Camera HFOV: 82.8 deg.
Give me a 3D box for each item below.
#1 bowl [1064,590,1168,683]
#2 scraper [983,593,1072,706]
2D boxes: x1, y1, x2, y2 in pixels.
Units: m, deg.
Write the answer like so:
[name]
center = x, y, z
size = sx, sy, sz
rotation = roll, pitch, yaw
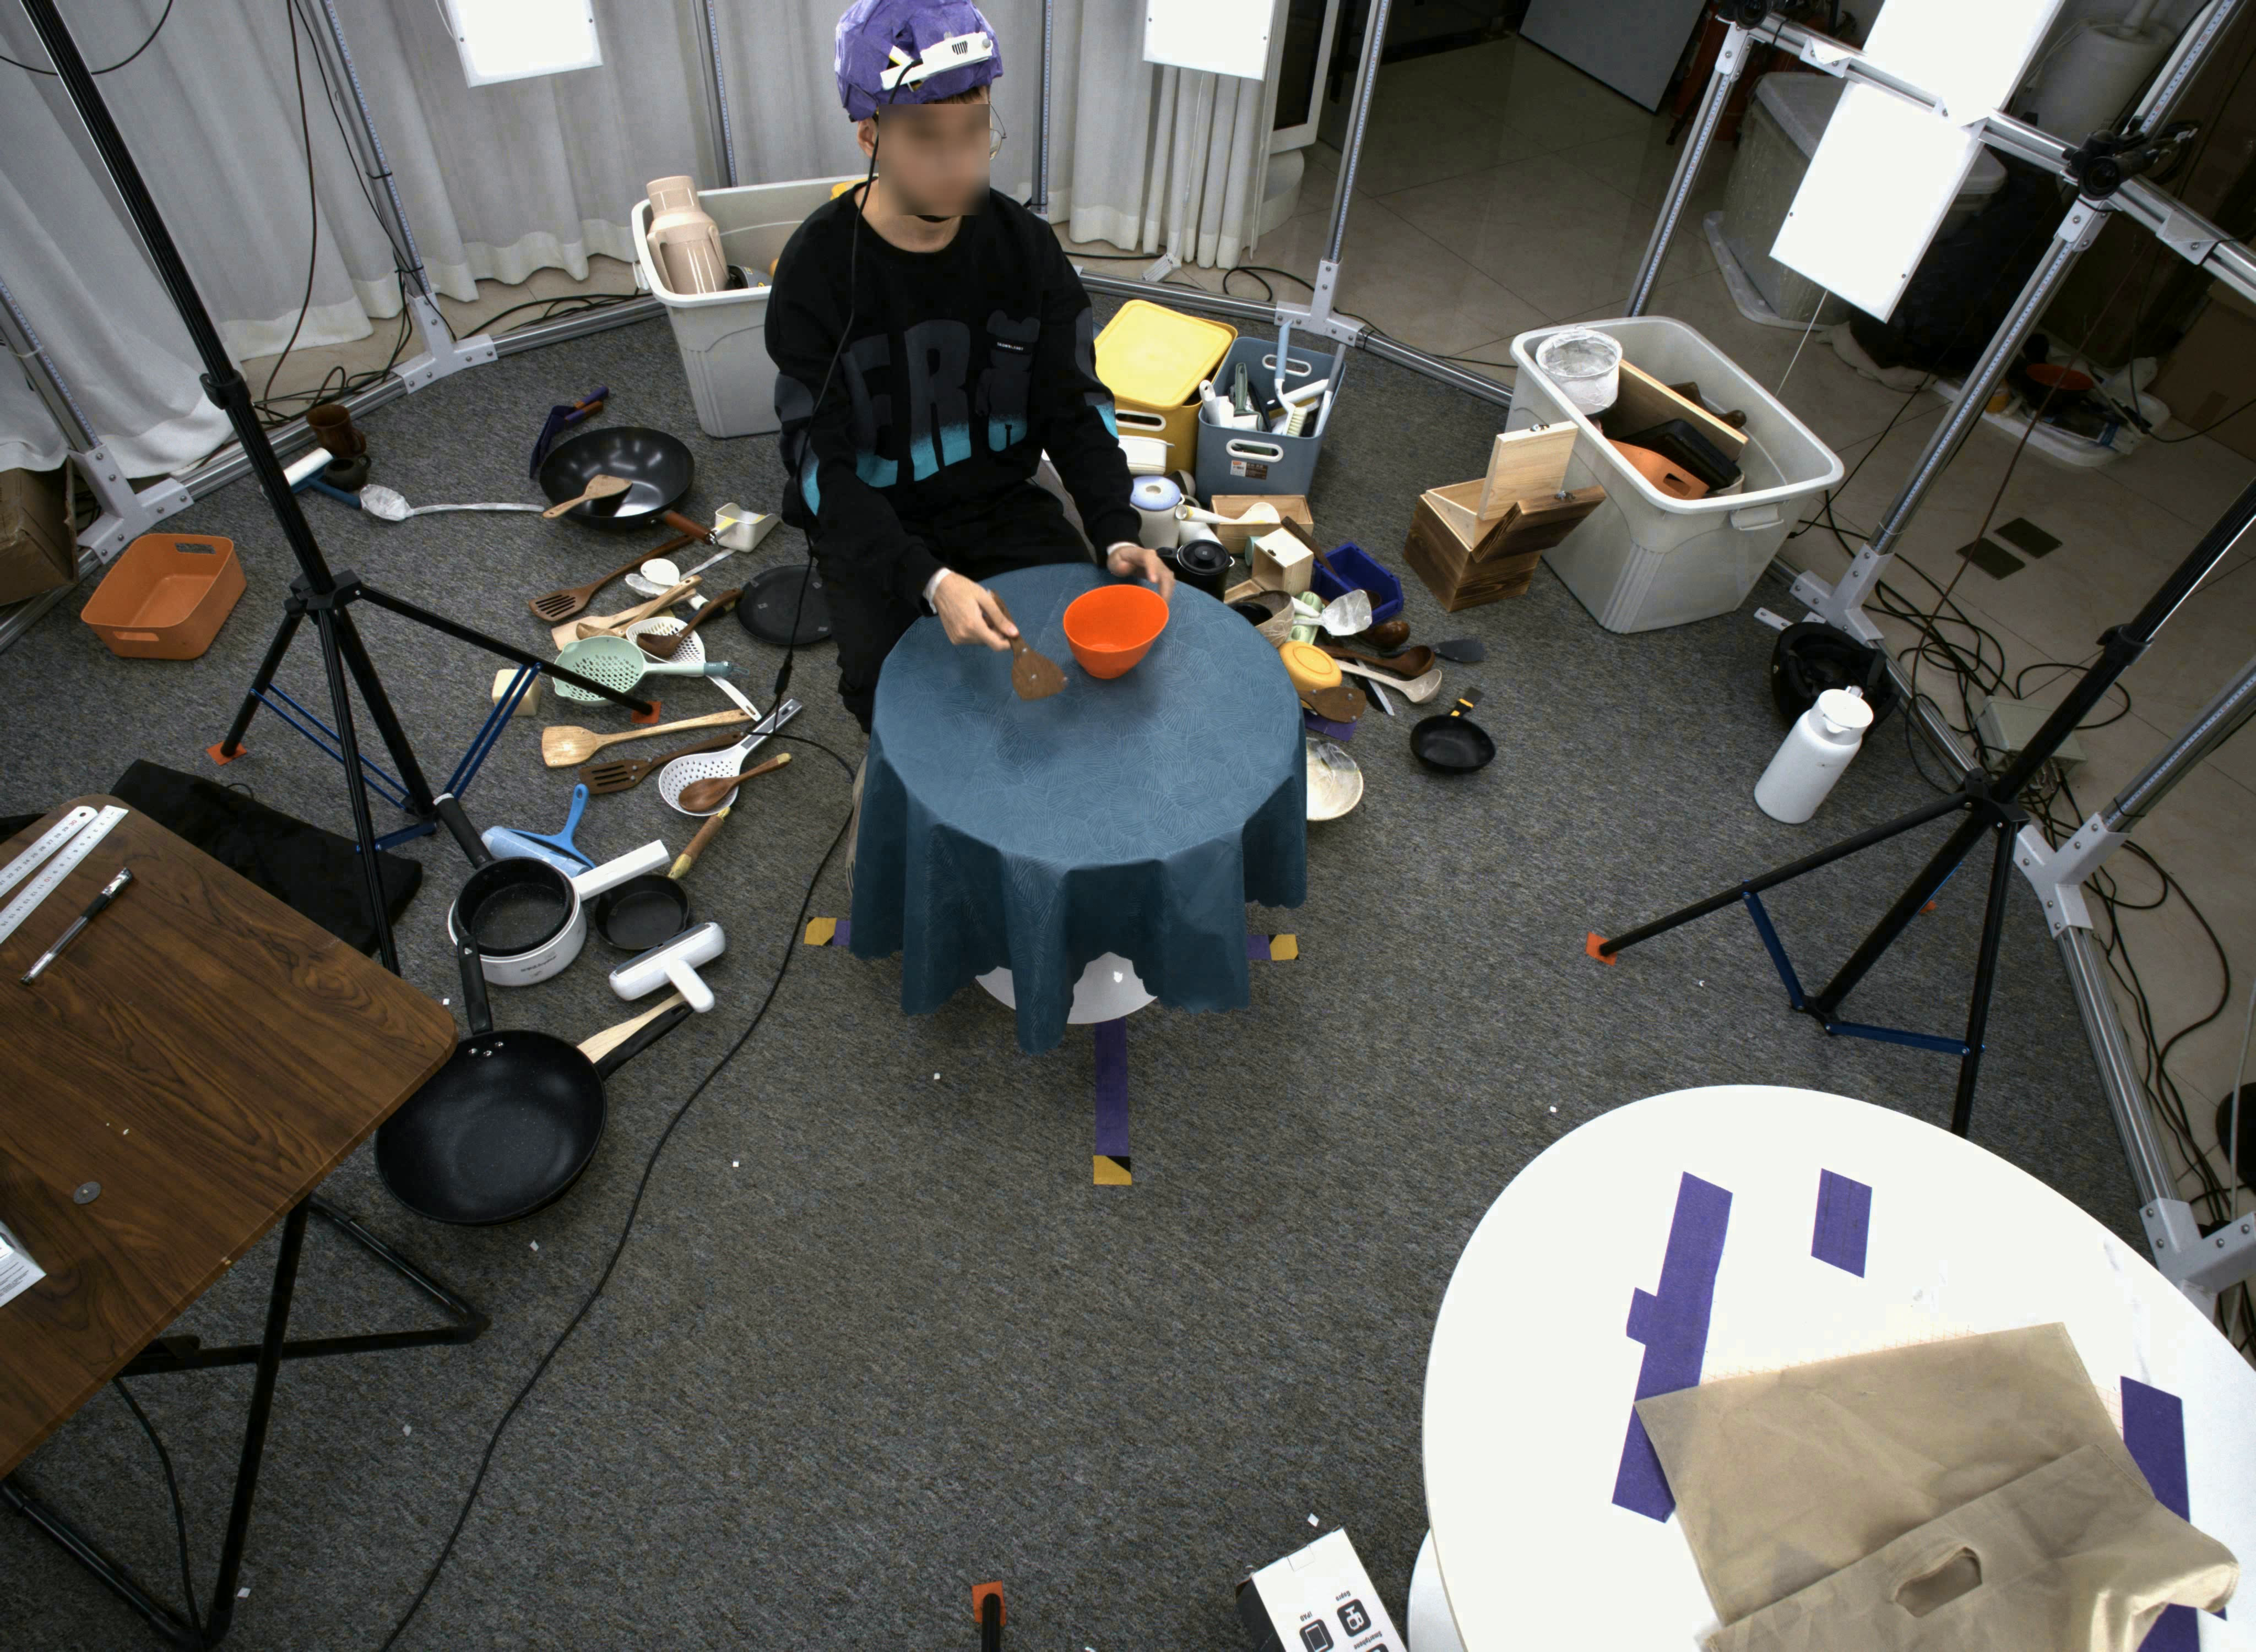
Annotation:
[bowl]
center = -0.018, -0.264, 1.850
size = 0.148, 0.102, 0.152
rotation = 1, 48, -1
[scraper]
center = -0.150, -0.248, 1.785
size = 0.076, 0.010, 0.216
rotation = -18, 59, -18
